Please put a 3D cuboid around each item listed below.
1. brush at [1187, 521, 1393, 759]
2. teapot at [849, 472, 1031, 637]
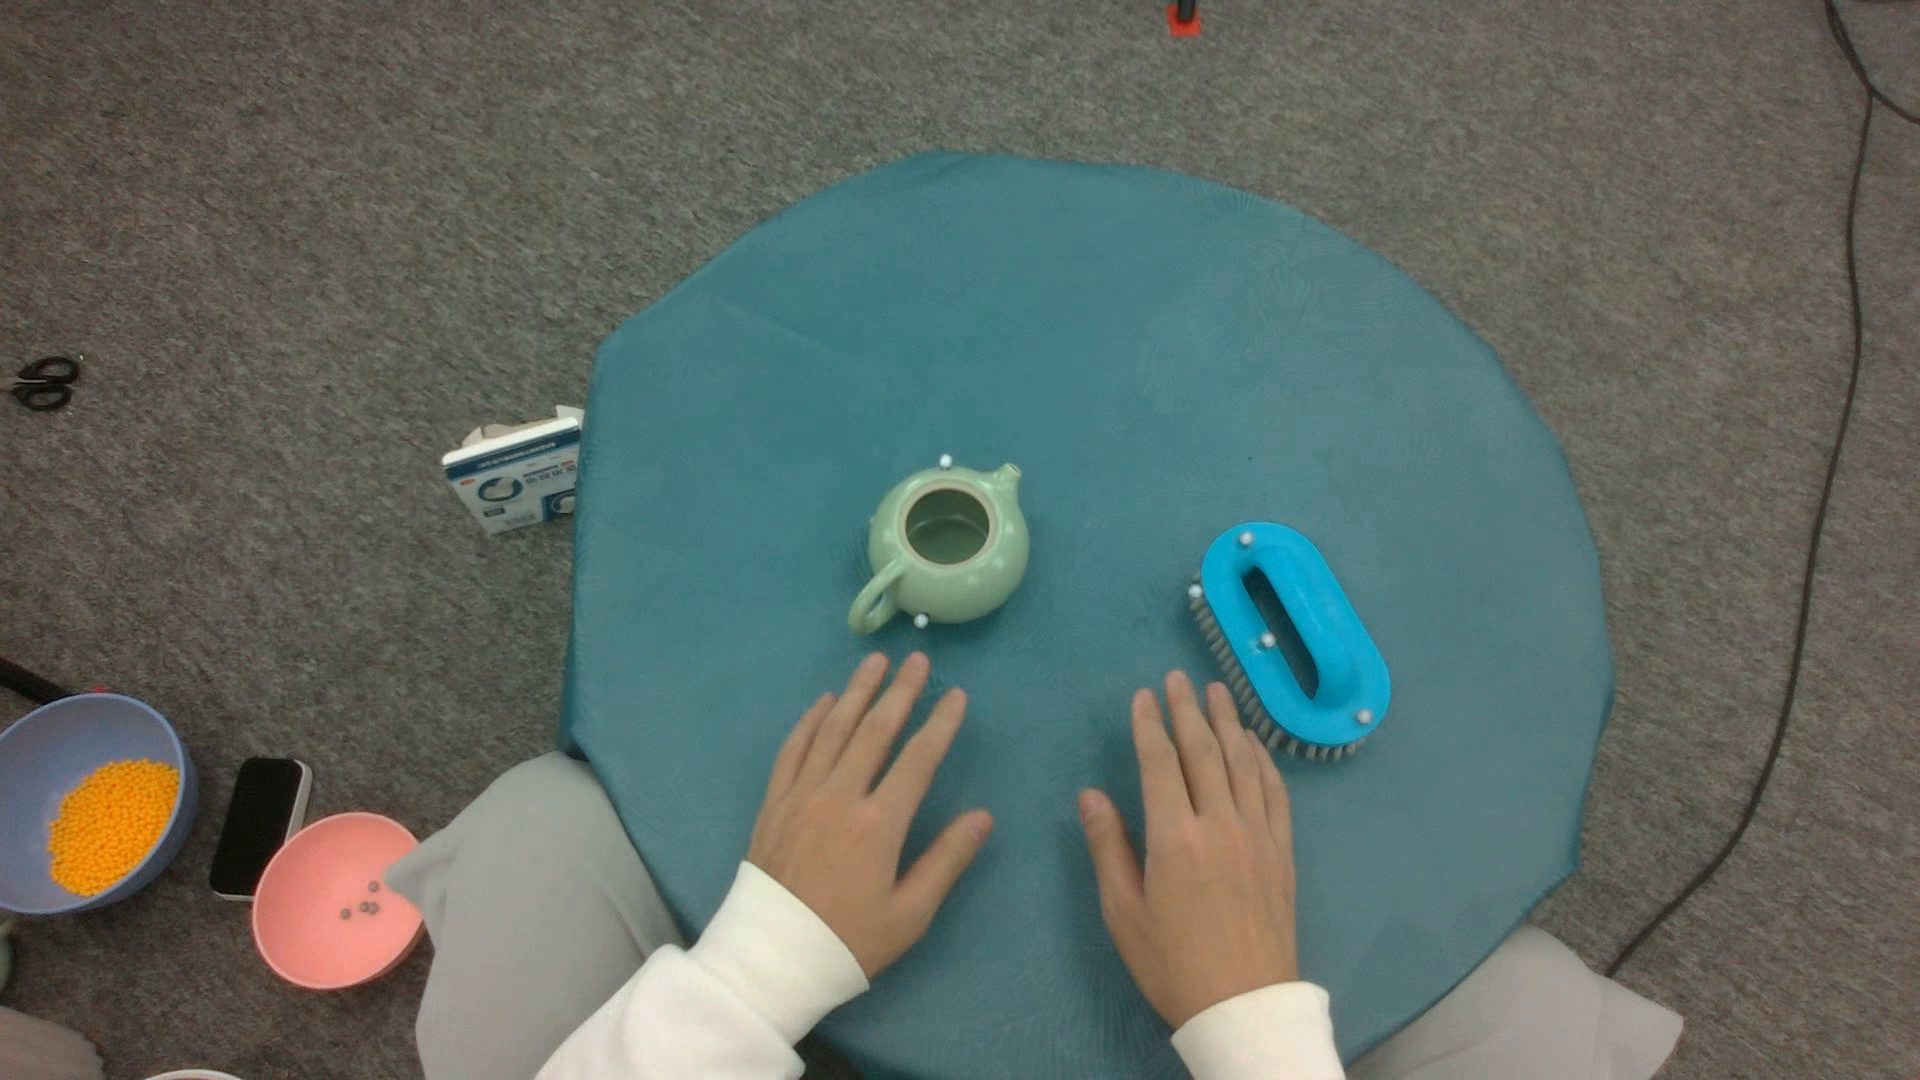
[{"bbox_3d":[0.188,0.047,0.767,0.084,0.063,0.142,-18,66,-13],"label":"brush"},{"bbox_3d":[-0.012,0.012,0.790,0.129,0.061,0.091,-38,73,-14],"label":"teapot"}]
